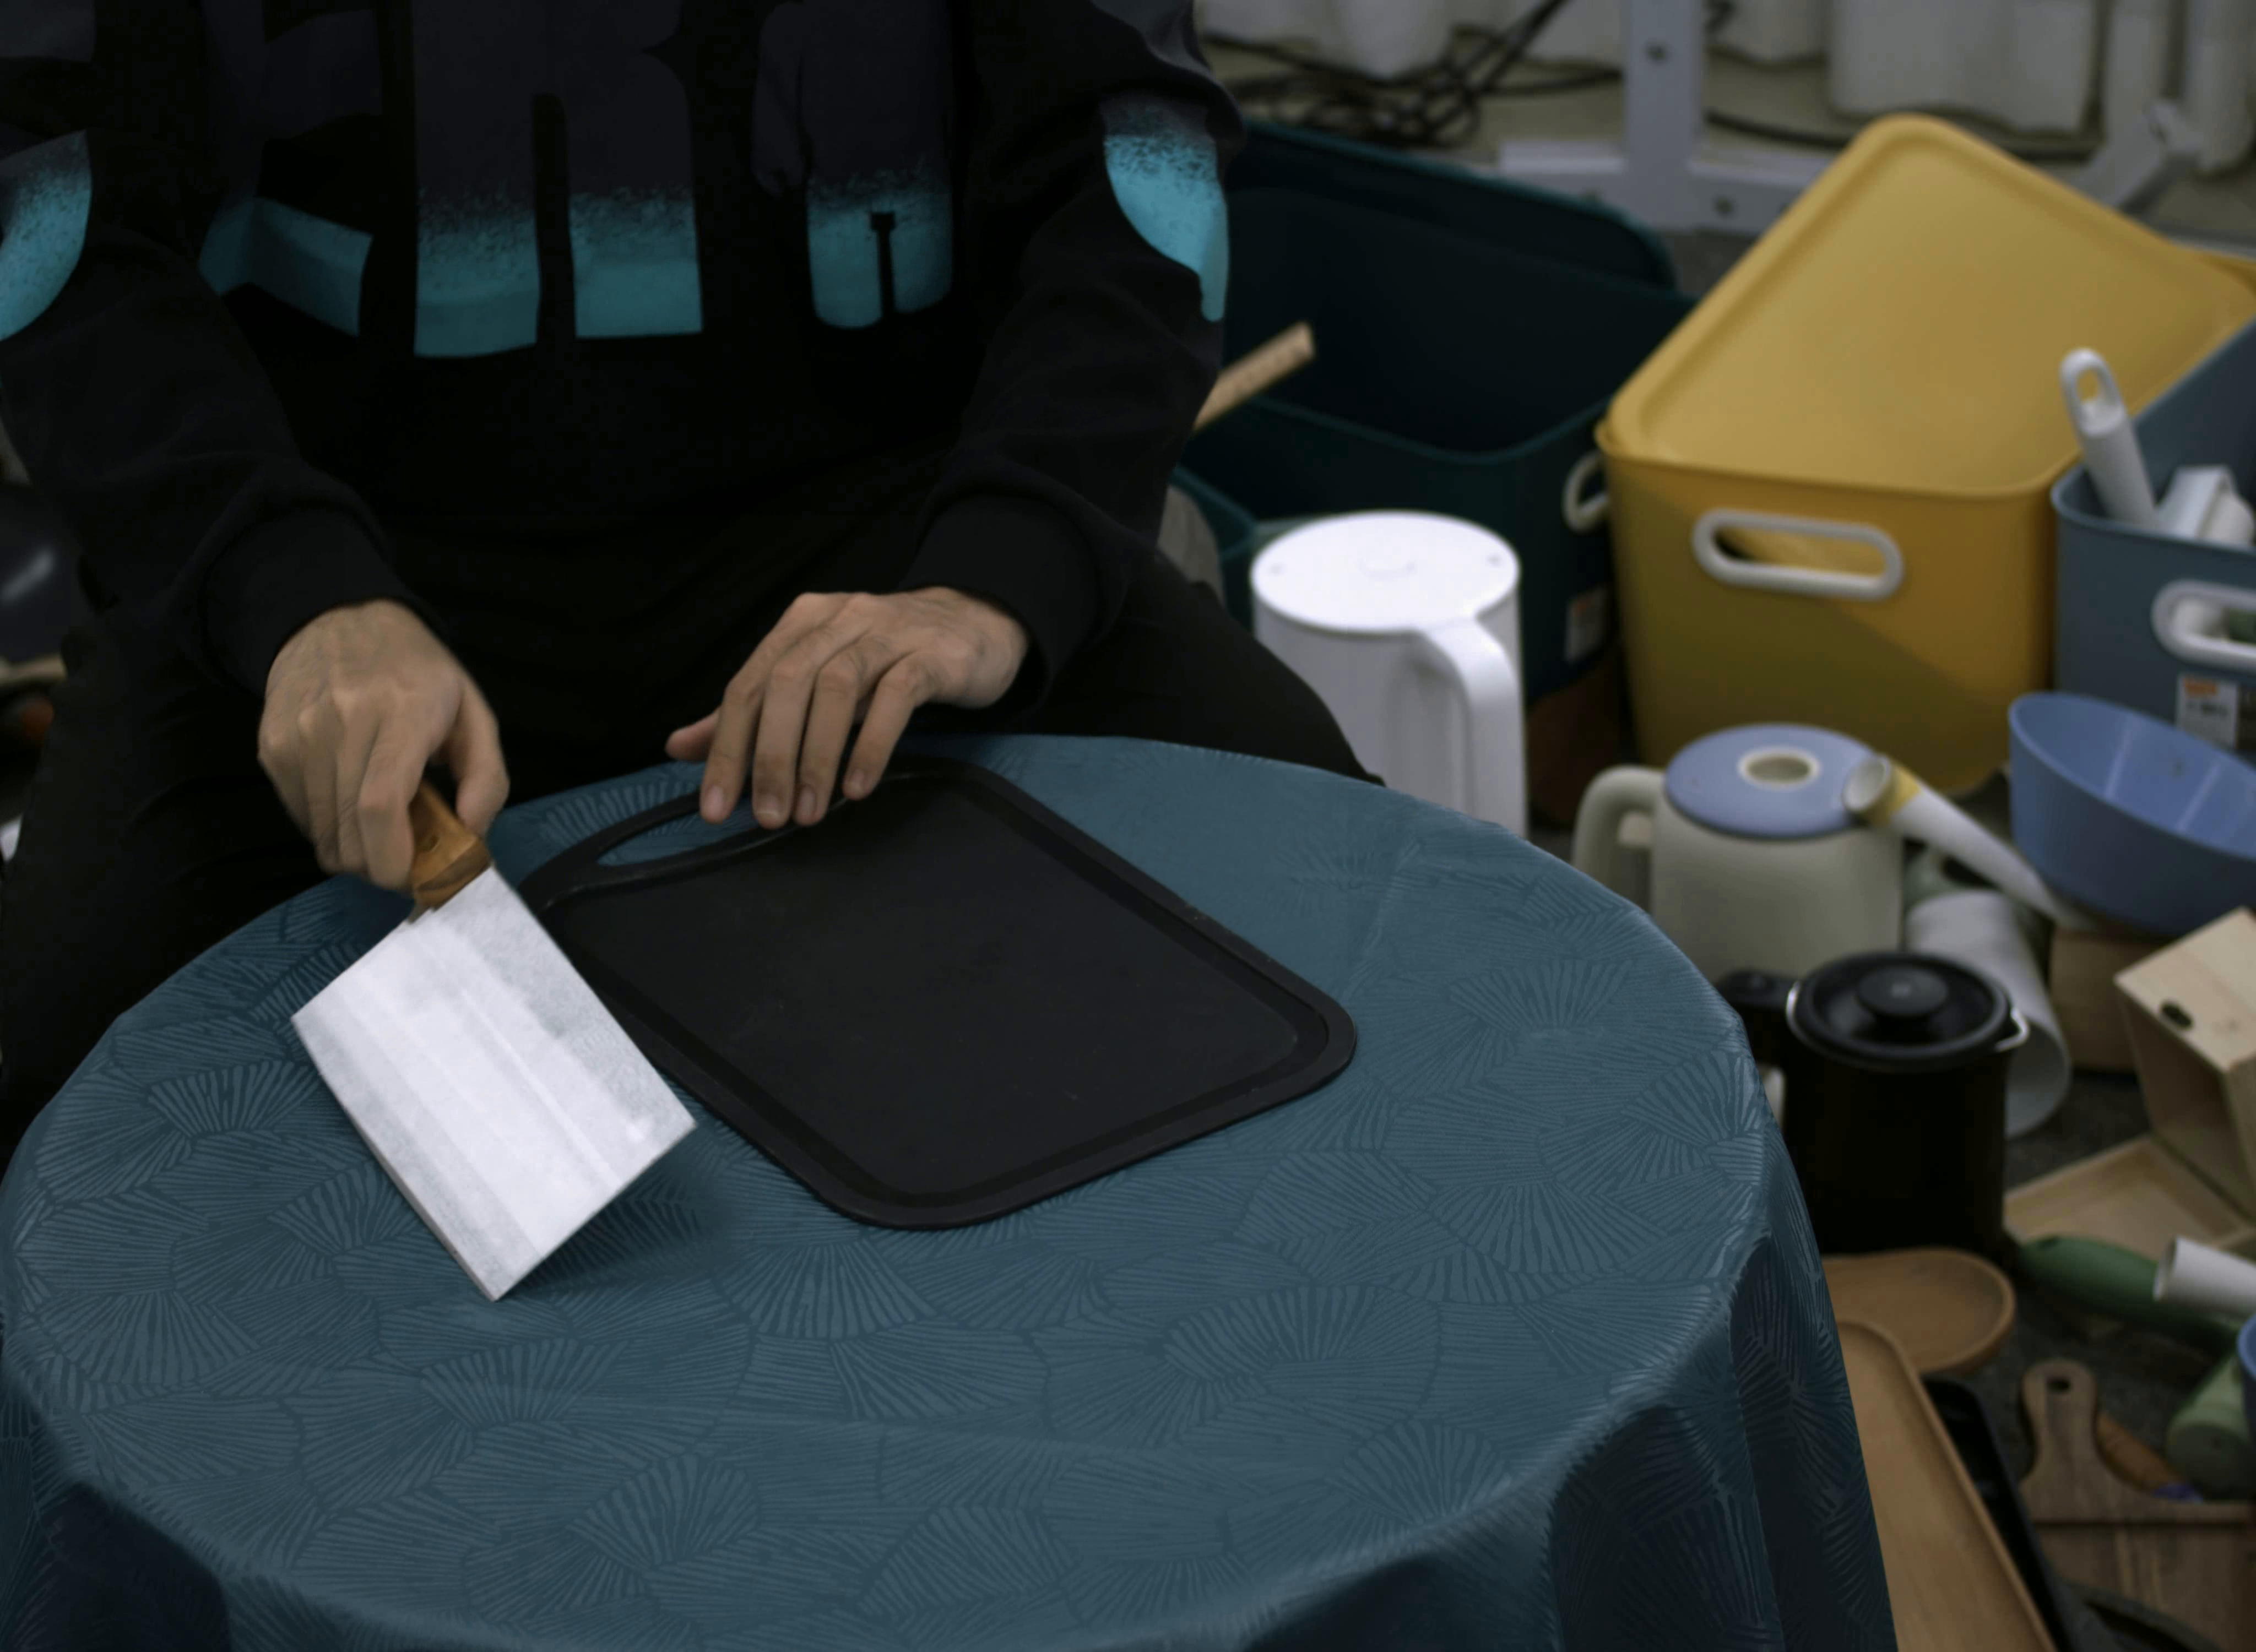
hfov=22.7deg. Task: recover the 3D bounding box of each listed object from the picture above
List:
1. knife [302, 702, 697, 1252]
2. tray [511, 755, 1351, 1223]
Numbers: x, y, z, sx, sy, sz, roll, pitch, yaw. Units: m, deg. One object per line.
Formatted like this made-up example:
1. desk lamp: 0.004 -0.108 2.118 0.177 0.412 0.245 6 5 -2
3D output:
1. knife: -0.238 0.053 1.939 0.093 0.021 0.308 -42 40 -2
2. tray: -0.081 0.049 2.002 0.213 0.009 0.326 -19 32 -28
